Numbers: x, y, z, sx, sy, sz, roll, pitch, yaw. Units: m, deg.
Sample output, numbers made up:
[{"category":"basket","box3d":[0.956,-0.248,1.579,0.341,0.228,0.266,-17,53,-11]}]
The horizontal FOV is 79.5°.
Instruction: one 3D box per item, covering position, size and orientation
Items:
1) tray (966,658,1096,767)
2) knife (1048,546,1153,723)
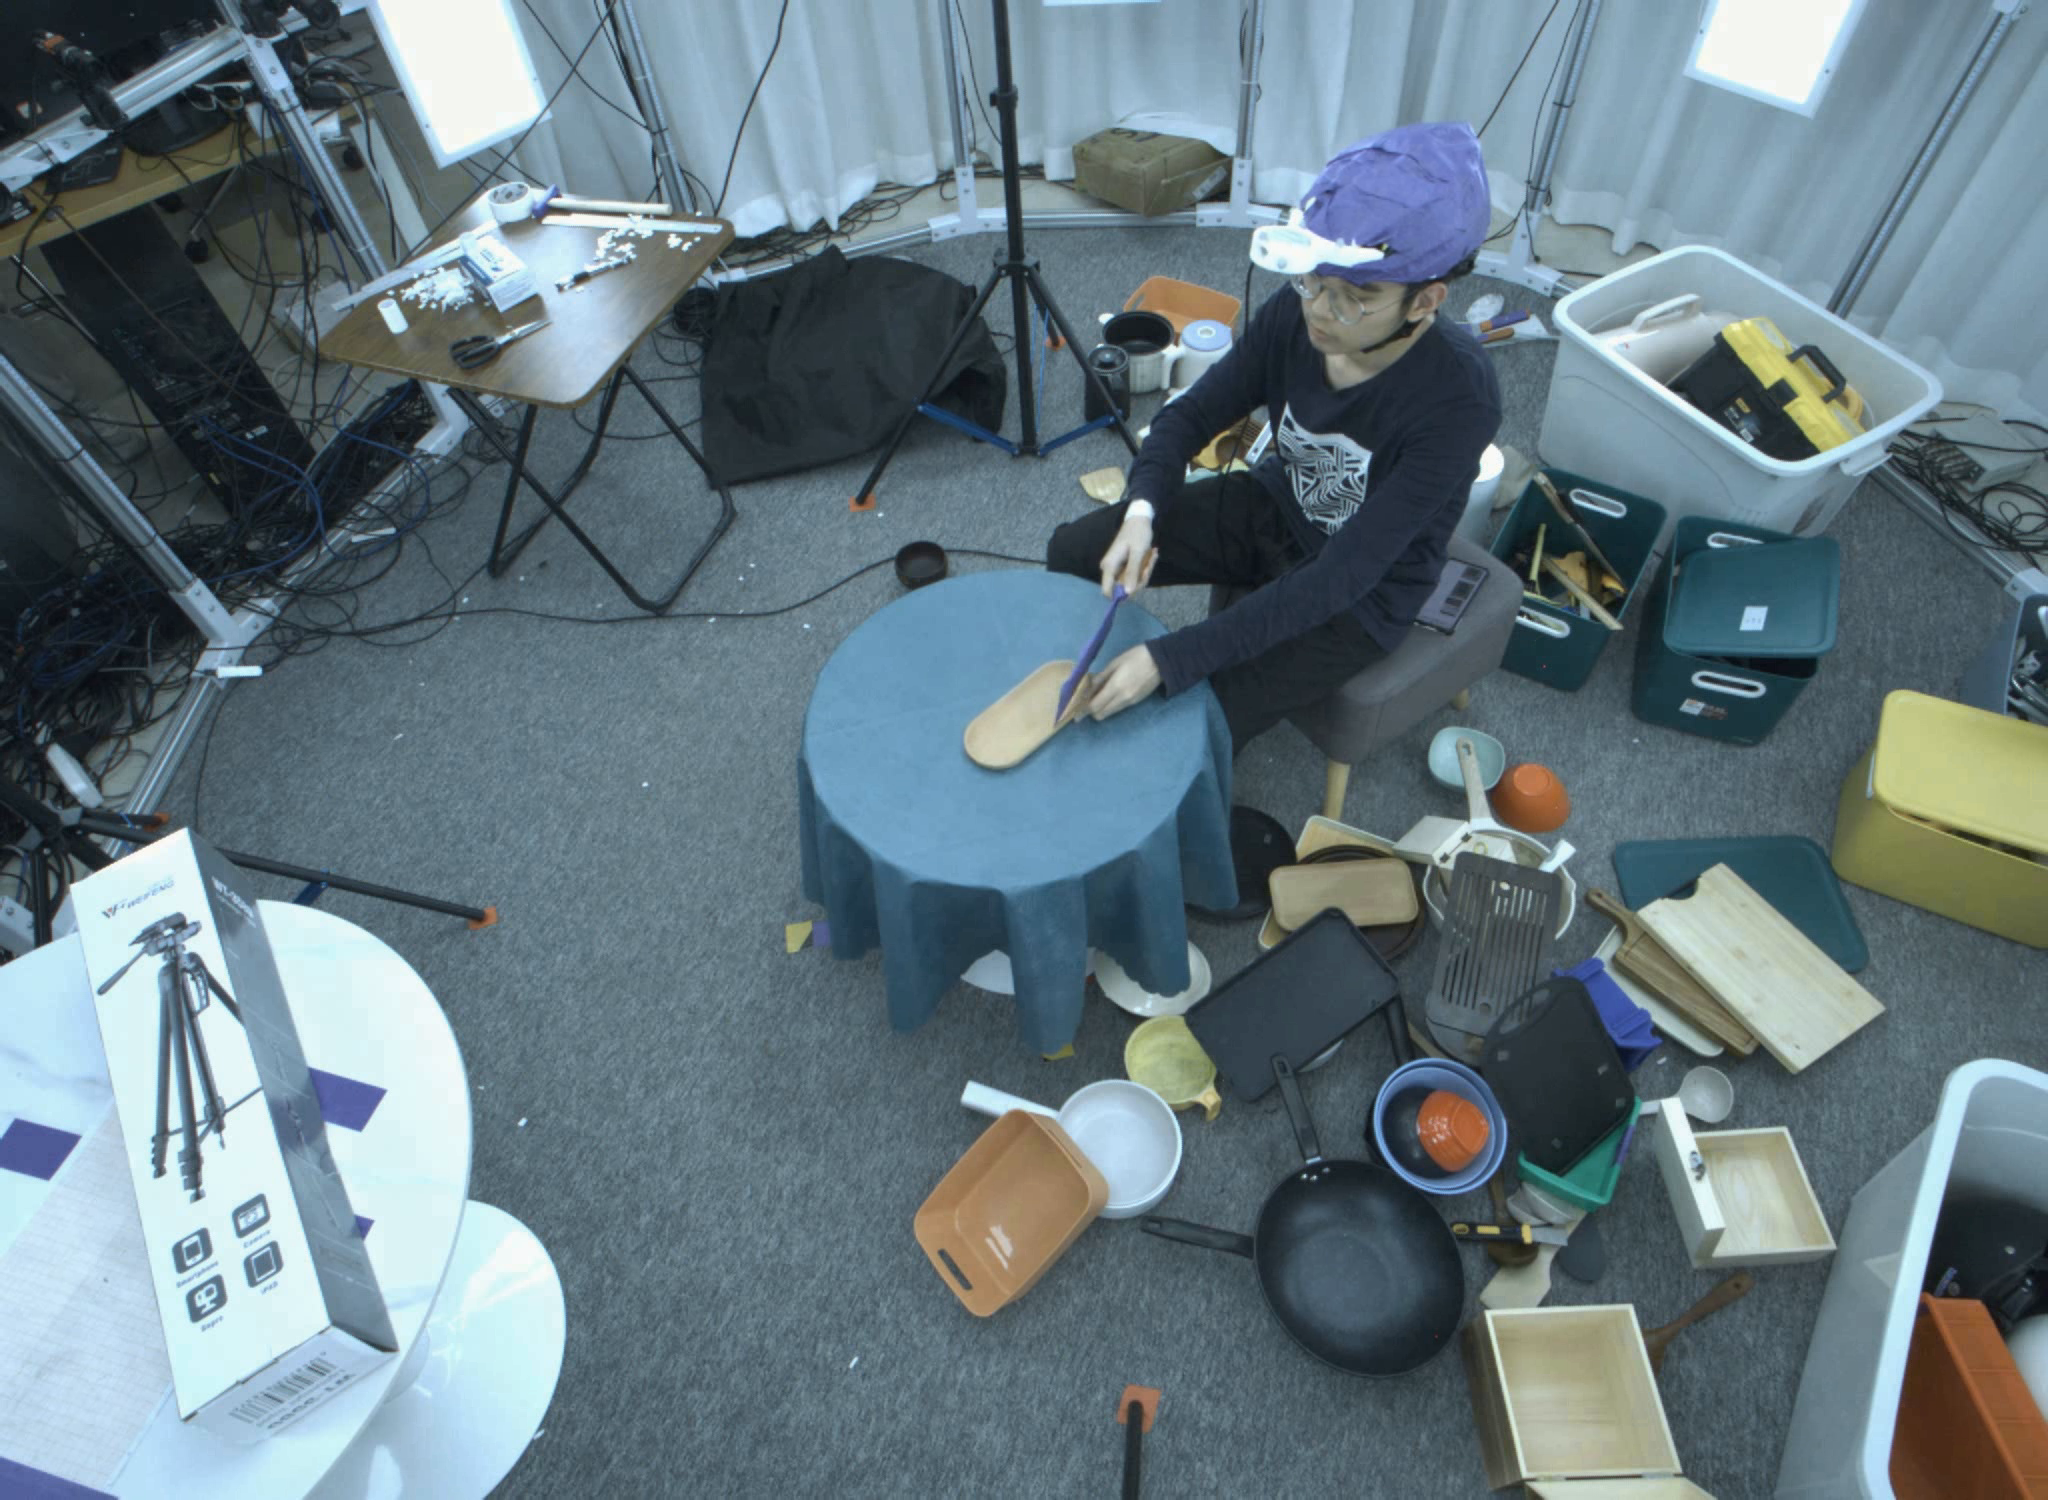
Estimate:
[{"category":"tray","box3d":[0.012,-0.057,1.823,0.100,0.020,0.233,38,62,25]},{"category":"knife","box3d":[0.109,-0.174,1.830,0.032,0.104,0.316,28,60,9]}]
